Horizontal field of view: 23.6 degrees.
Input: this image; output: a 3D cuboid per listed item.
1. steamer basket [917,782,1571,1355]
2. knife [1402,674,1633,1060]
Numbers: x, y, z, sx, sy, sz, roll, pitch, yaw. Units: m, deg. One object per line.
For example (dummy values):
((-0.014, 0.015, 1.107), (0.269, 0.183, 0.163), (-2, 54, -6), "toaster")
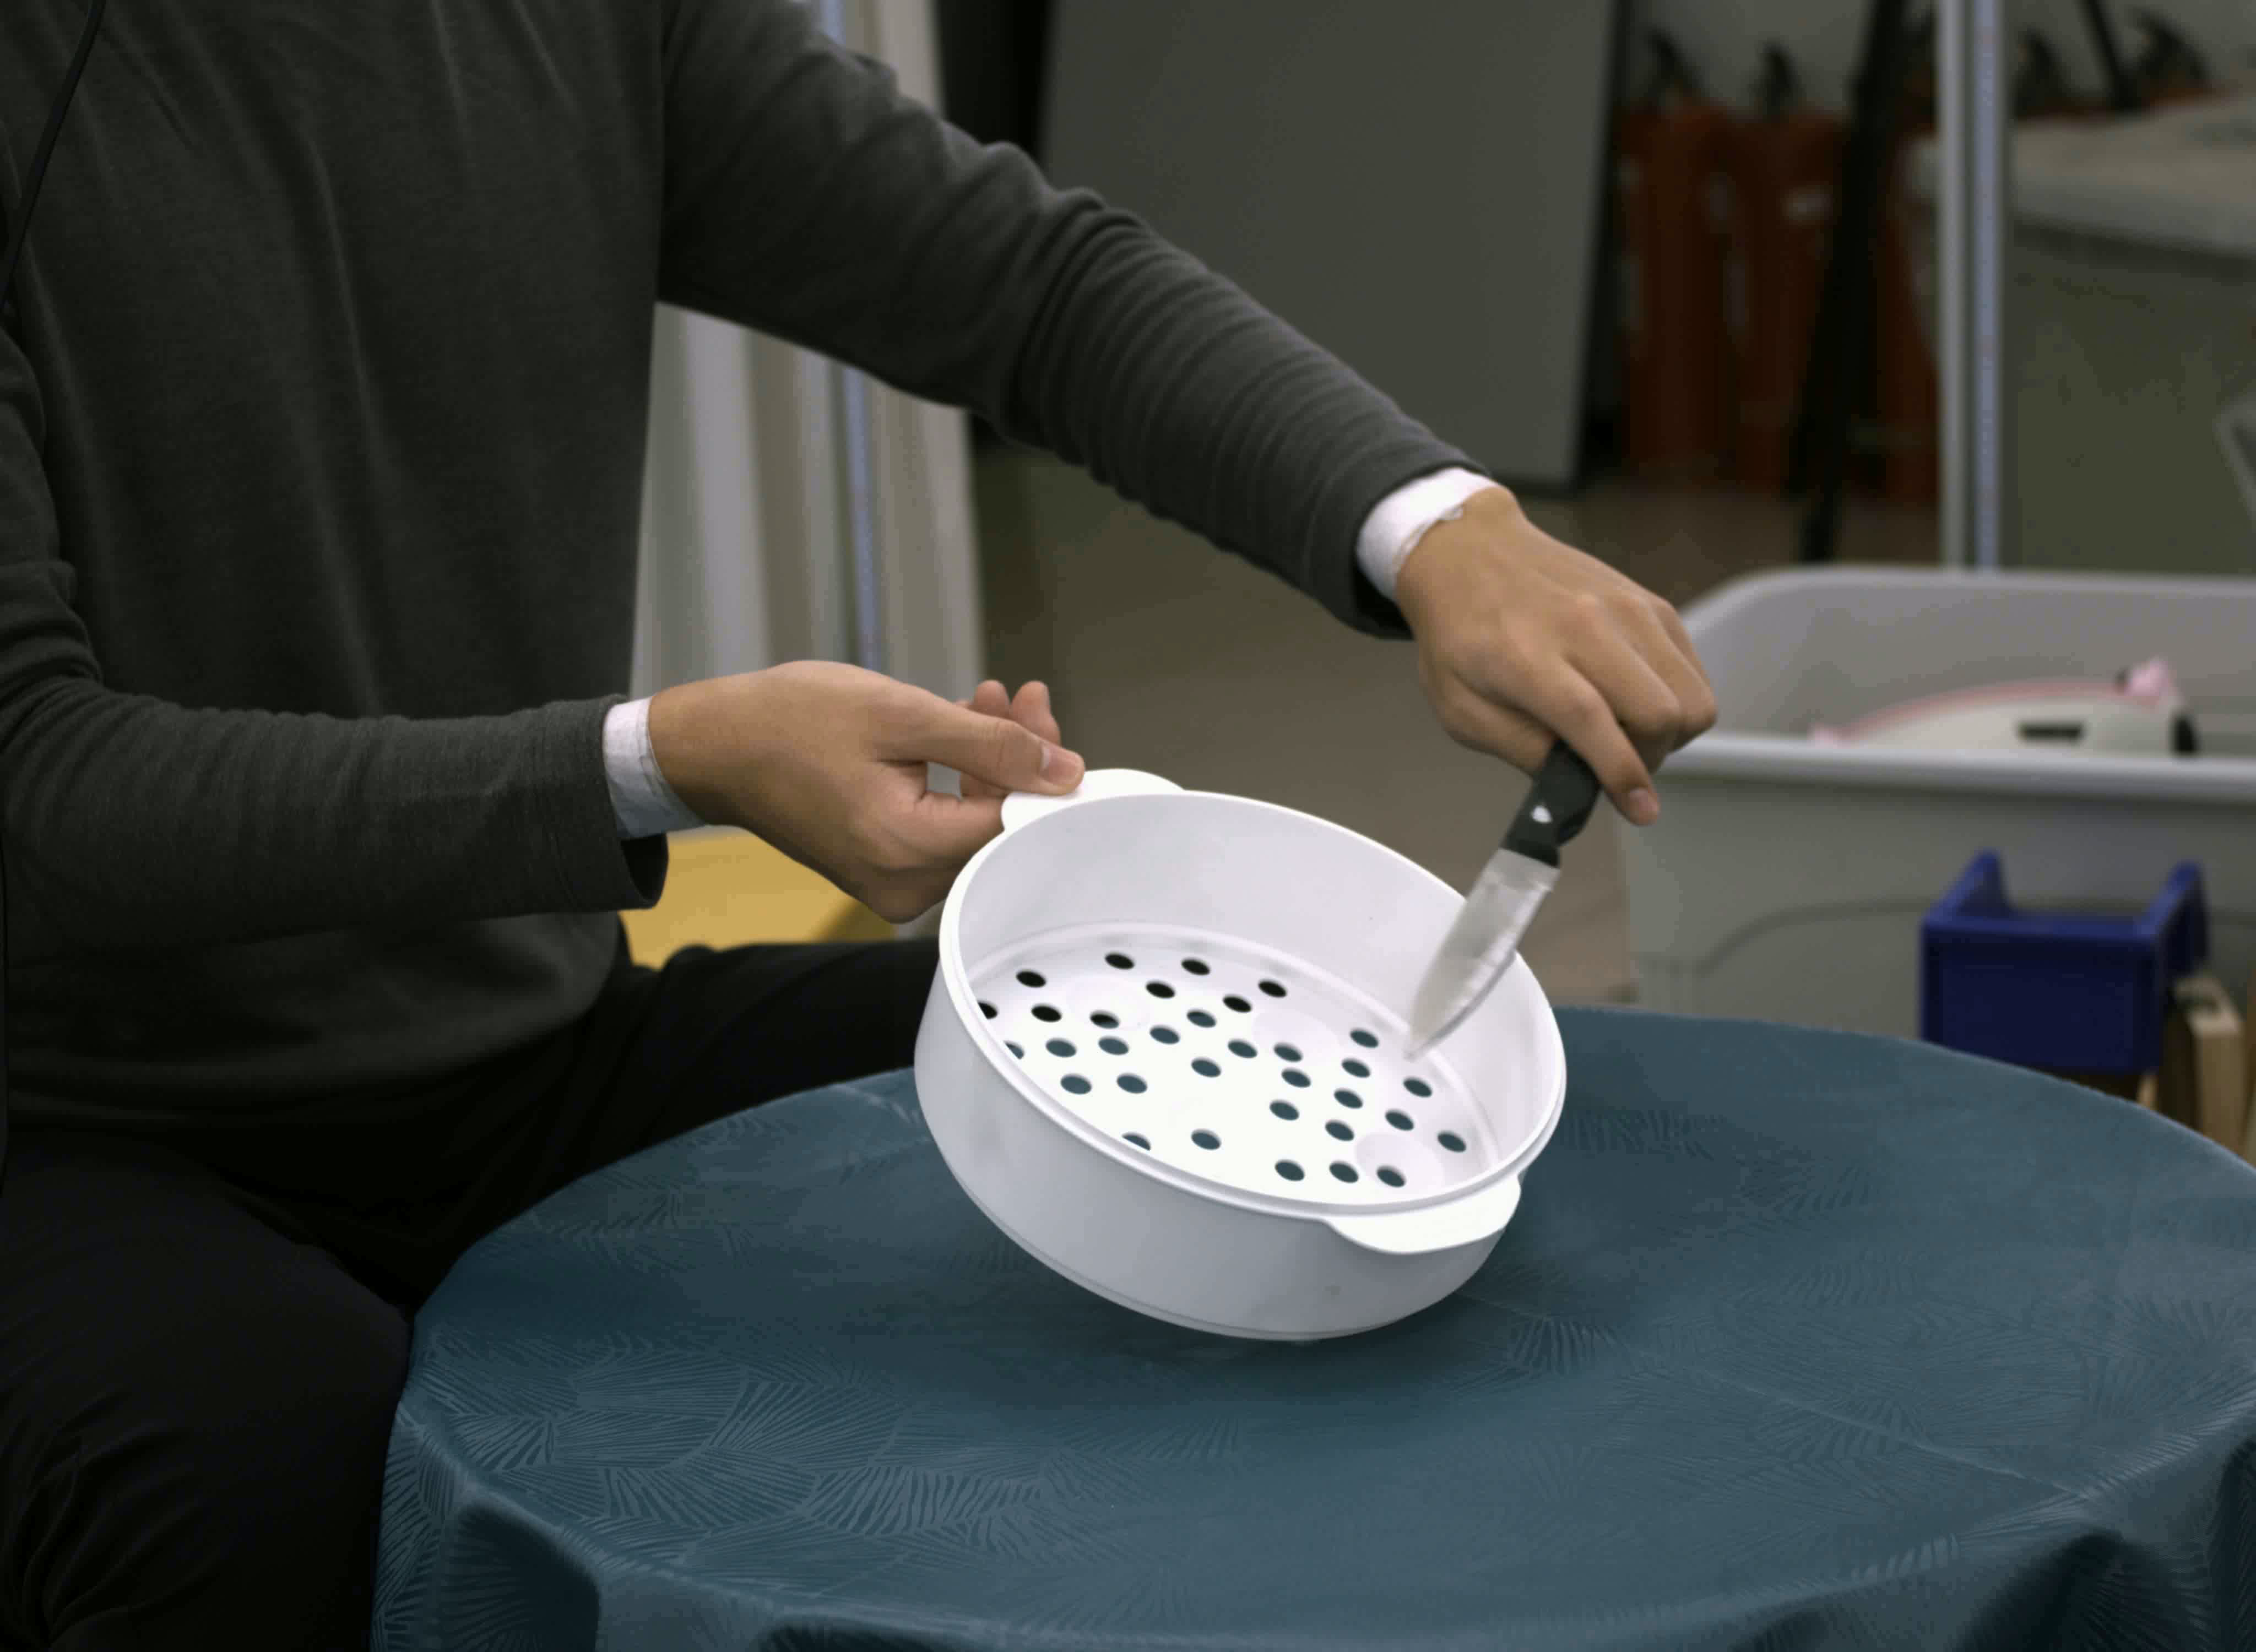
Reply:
((0.033, 0.077, 1.660), (0.197, 0.070, 0.233), (-9, 41, -33), "steamer basket")
((0.122, 0.011, 1.726), (0.024, 0.016, 0.237), (21, 36, 10), "knife")
